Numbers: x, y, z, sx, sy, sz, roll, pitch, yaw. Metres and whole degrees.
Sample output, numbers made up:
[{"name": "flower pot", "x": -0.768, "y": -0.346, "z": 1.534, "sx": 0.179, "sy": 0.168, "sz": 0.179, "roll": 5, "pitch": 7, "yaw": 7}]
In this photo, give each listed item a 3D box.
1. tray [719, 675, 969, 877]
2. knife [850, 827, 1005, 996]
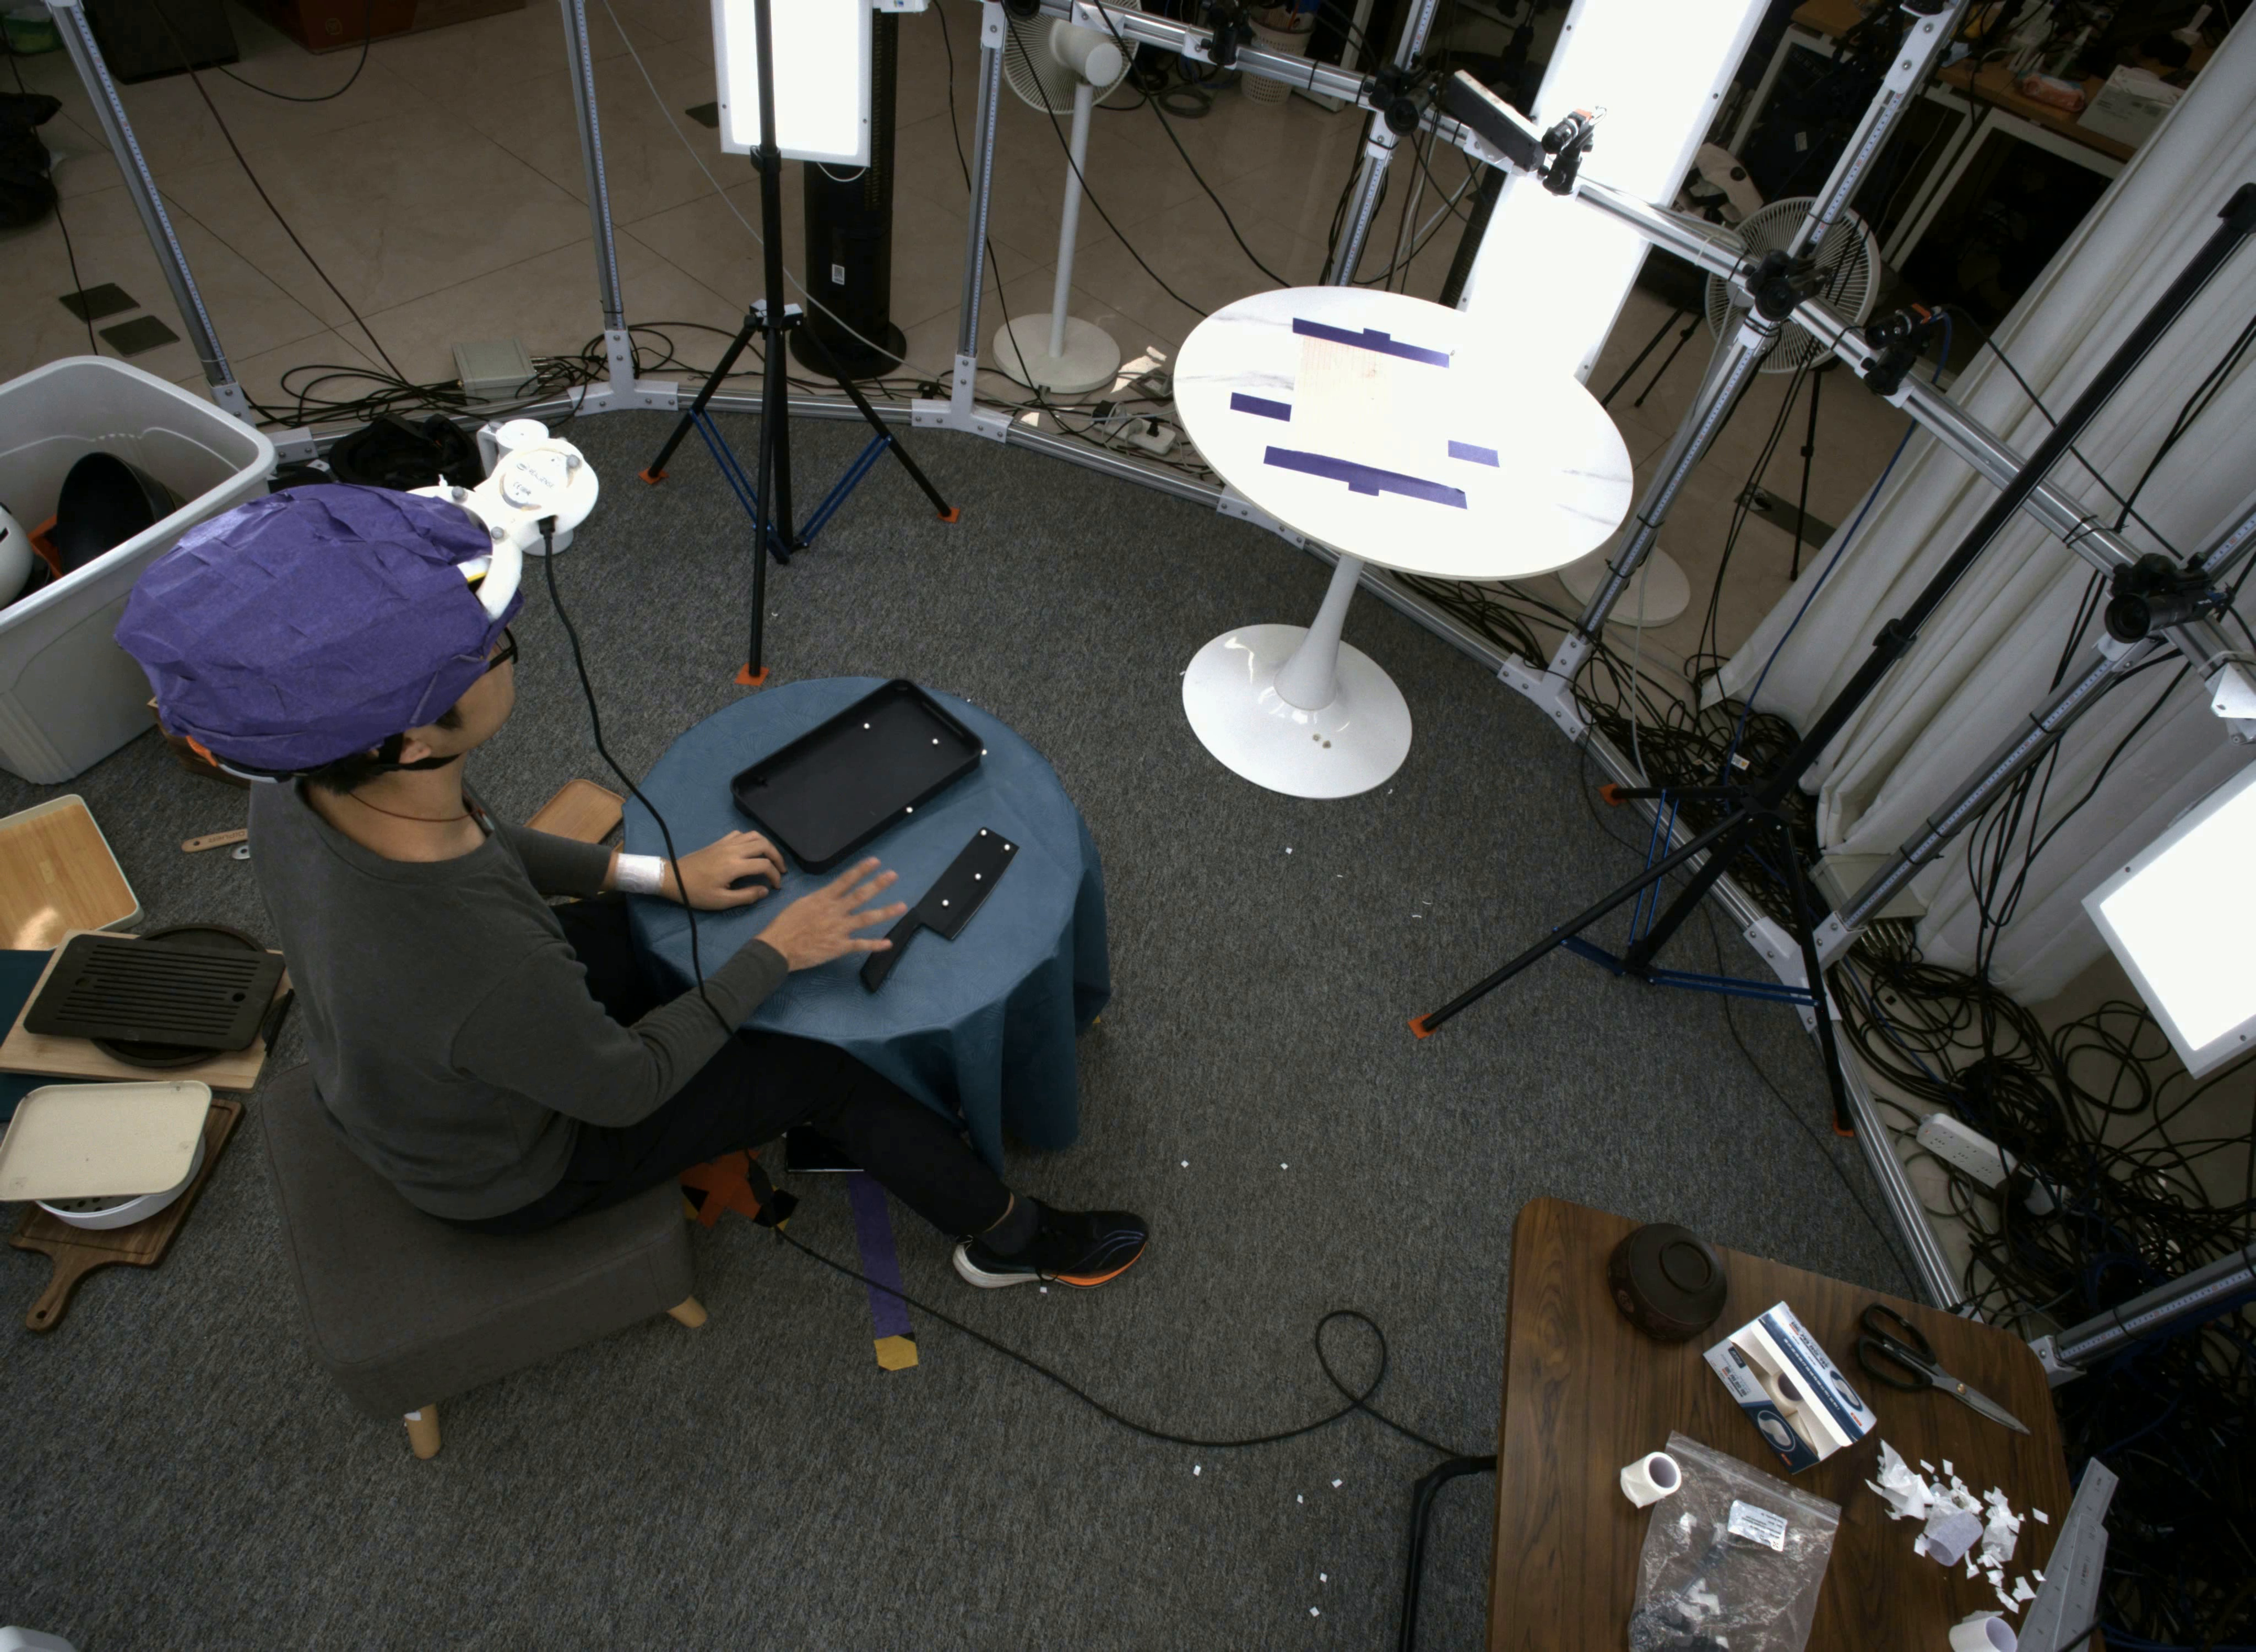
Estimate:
[{"name": "tray", "x": -0.384, "y": -0.075, "z": 1.778, "sx": 0.180, "sy": 0.038, "sz": 0.318, "roll": 38, "pitch": 55, "yaw": 14}, {"name": "knife", "x": -0.260, "y": 0.107, "z": 1.690, "sx": 0.079, "sy": 0.021, "sz": 0.301, "roll": 32, "pitch": 51, "yaw": 9}]
